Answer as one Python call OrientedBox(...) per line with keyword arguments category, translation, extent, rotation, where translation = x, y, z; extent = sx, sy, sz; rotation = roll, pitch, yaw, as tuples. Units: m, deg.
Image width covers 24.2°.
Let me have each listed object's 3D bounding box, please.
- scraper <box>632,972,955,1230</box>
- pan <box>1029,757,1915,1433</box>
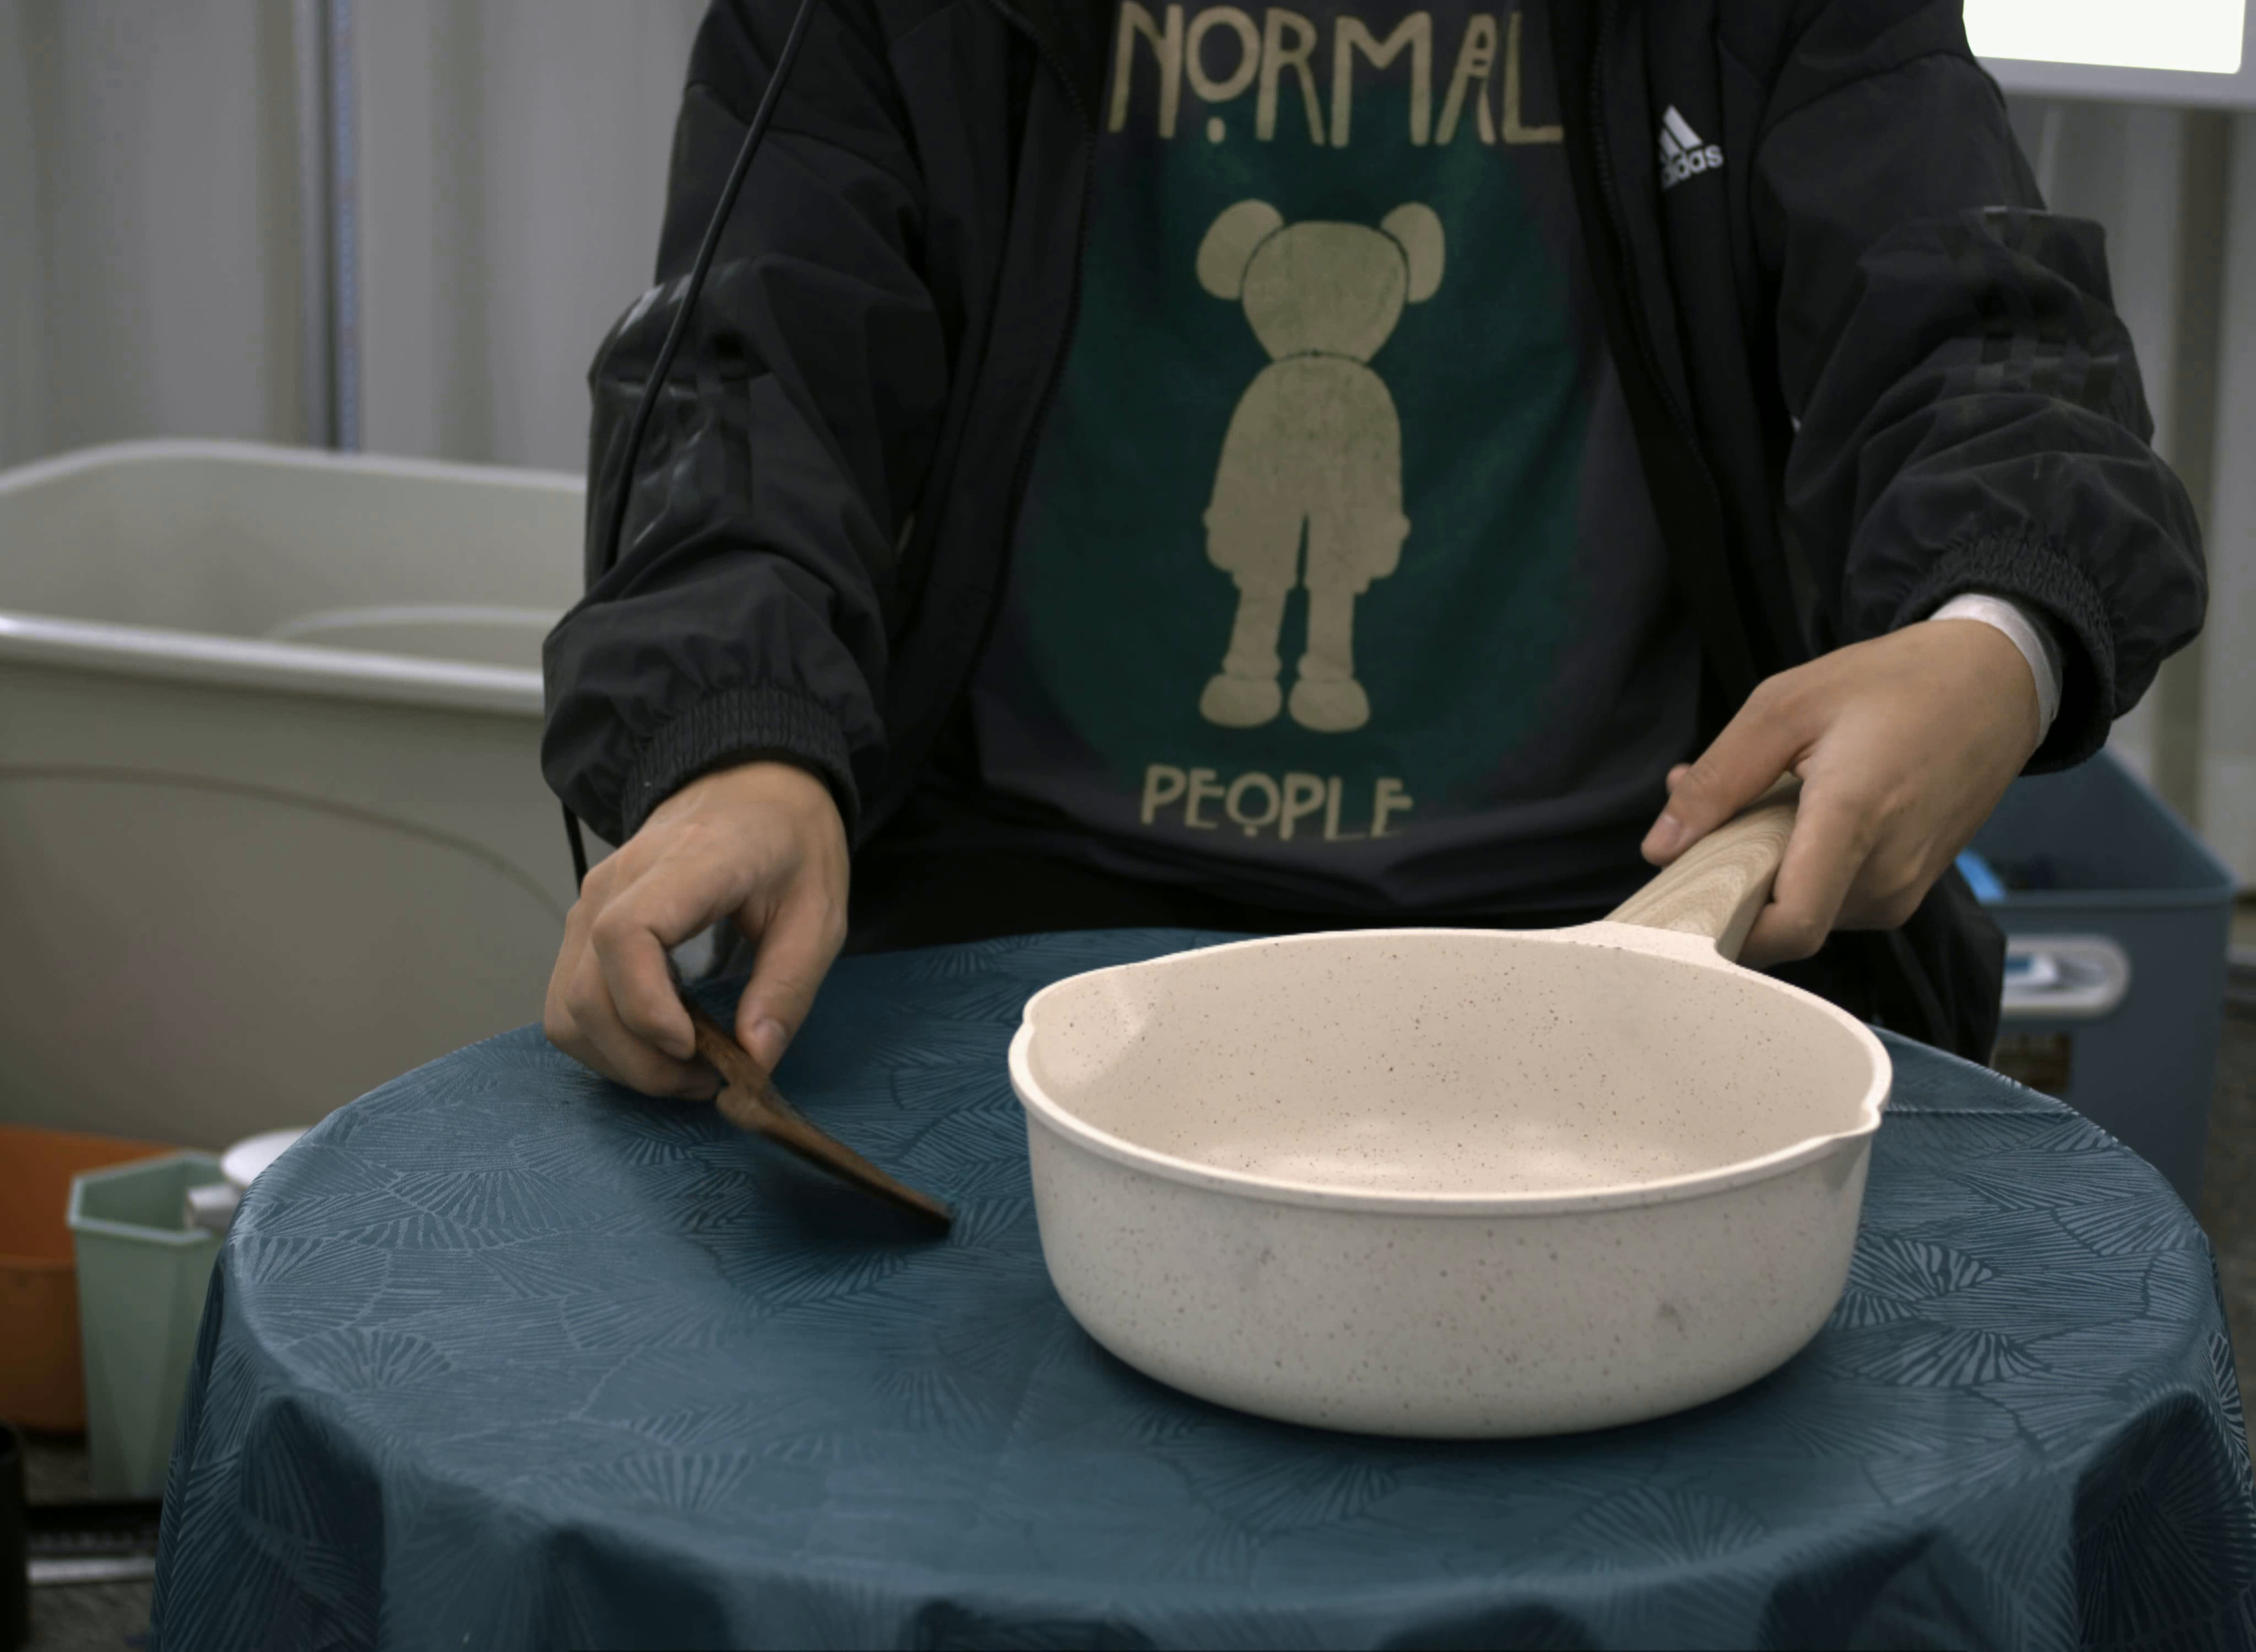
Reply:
OrientedBox(category="scraper", translation=(-0.117, 0.082, 1.651), extent=(0.076, 0.011, 0.209), rotation=(27, 5, -27))
OrientedBox(category="pan", translation=(0.142, 0.075, 1.580), extent=(0.260, 0.103, 0.436), rotation=(7, 16, 28))
